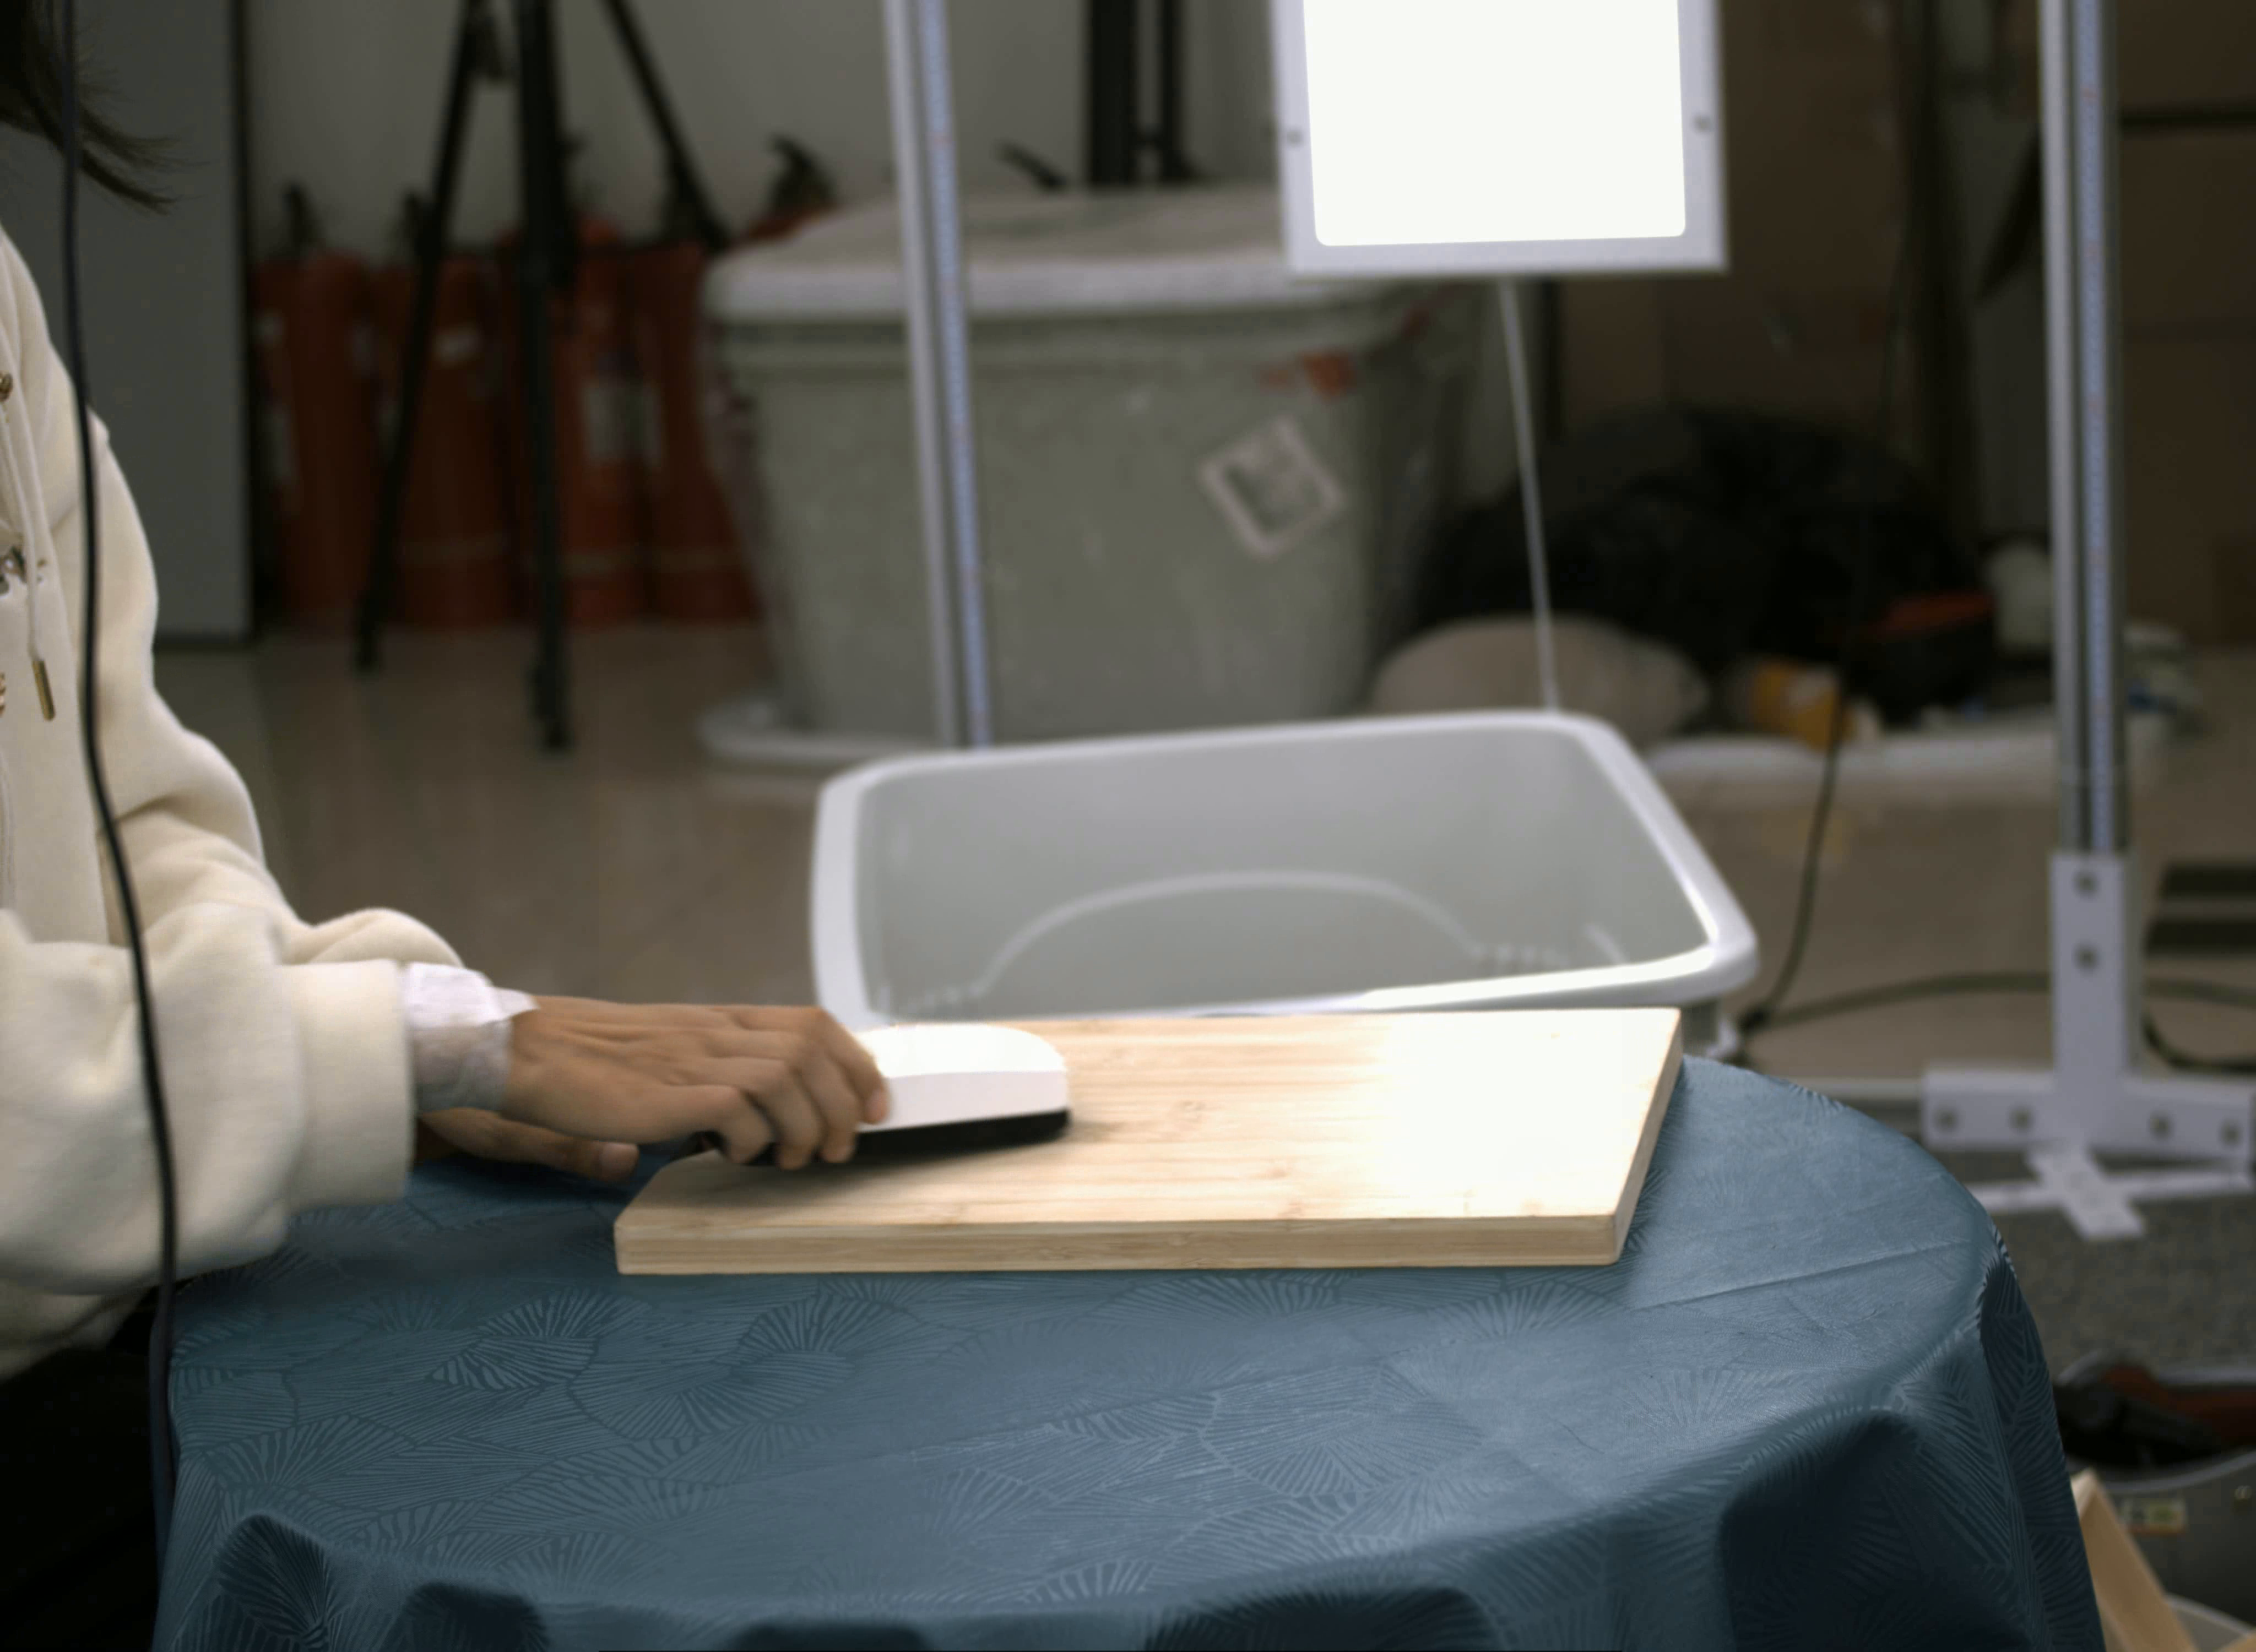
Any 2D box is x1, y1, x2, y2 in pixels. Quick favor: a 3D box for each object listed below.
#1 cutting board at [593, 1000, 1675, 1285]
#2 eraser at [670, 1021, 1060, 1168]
[{"bbox_3d":[0.010,0.110,1.930,0.351,0.023,0.248,-3,14,13],"label":"cutting board"},{"bbox_3d":[-0.091,0.090,1.903,0.129,0.035,0.064,-5,14,-17],"label":"eraser"}]
